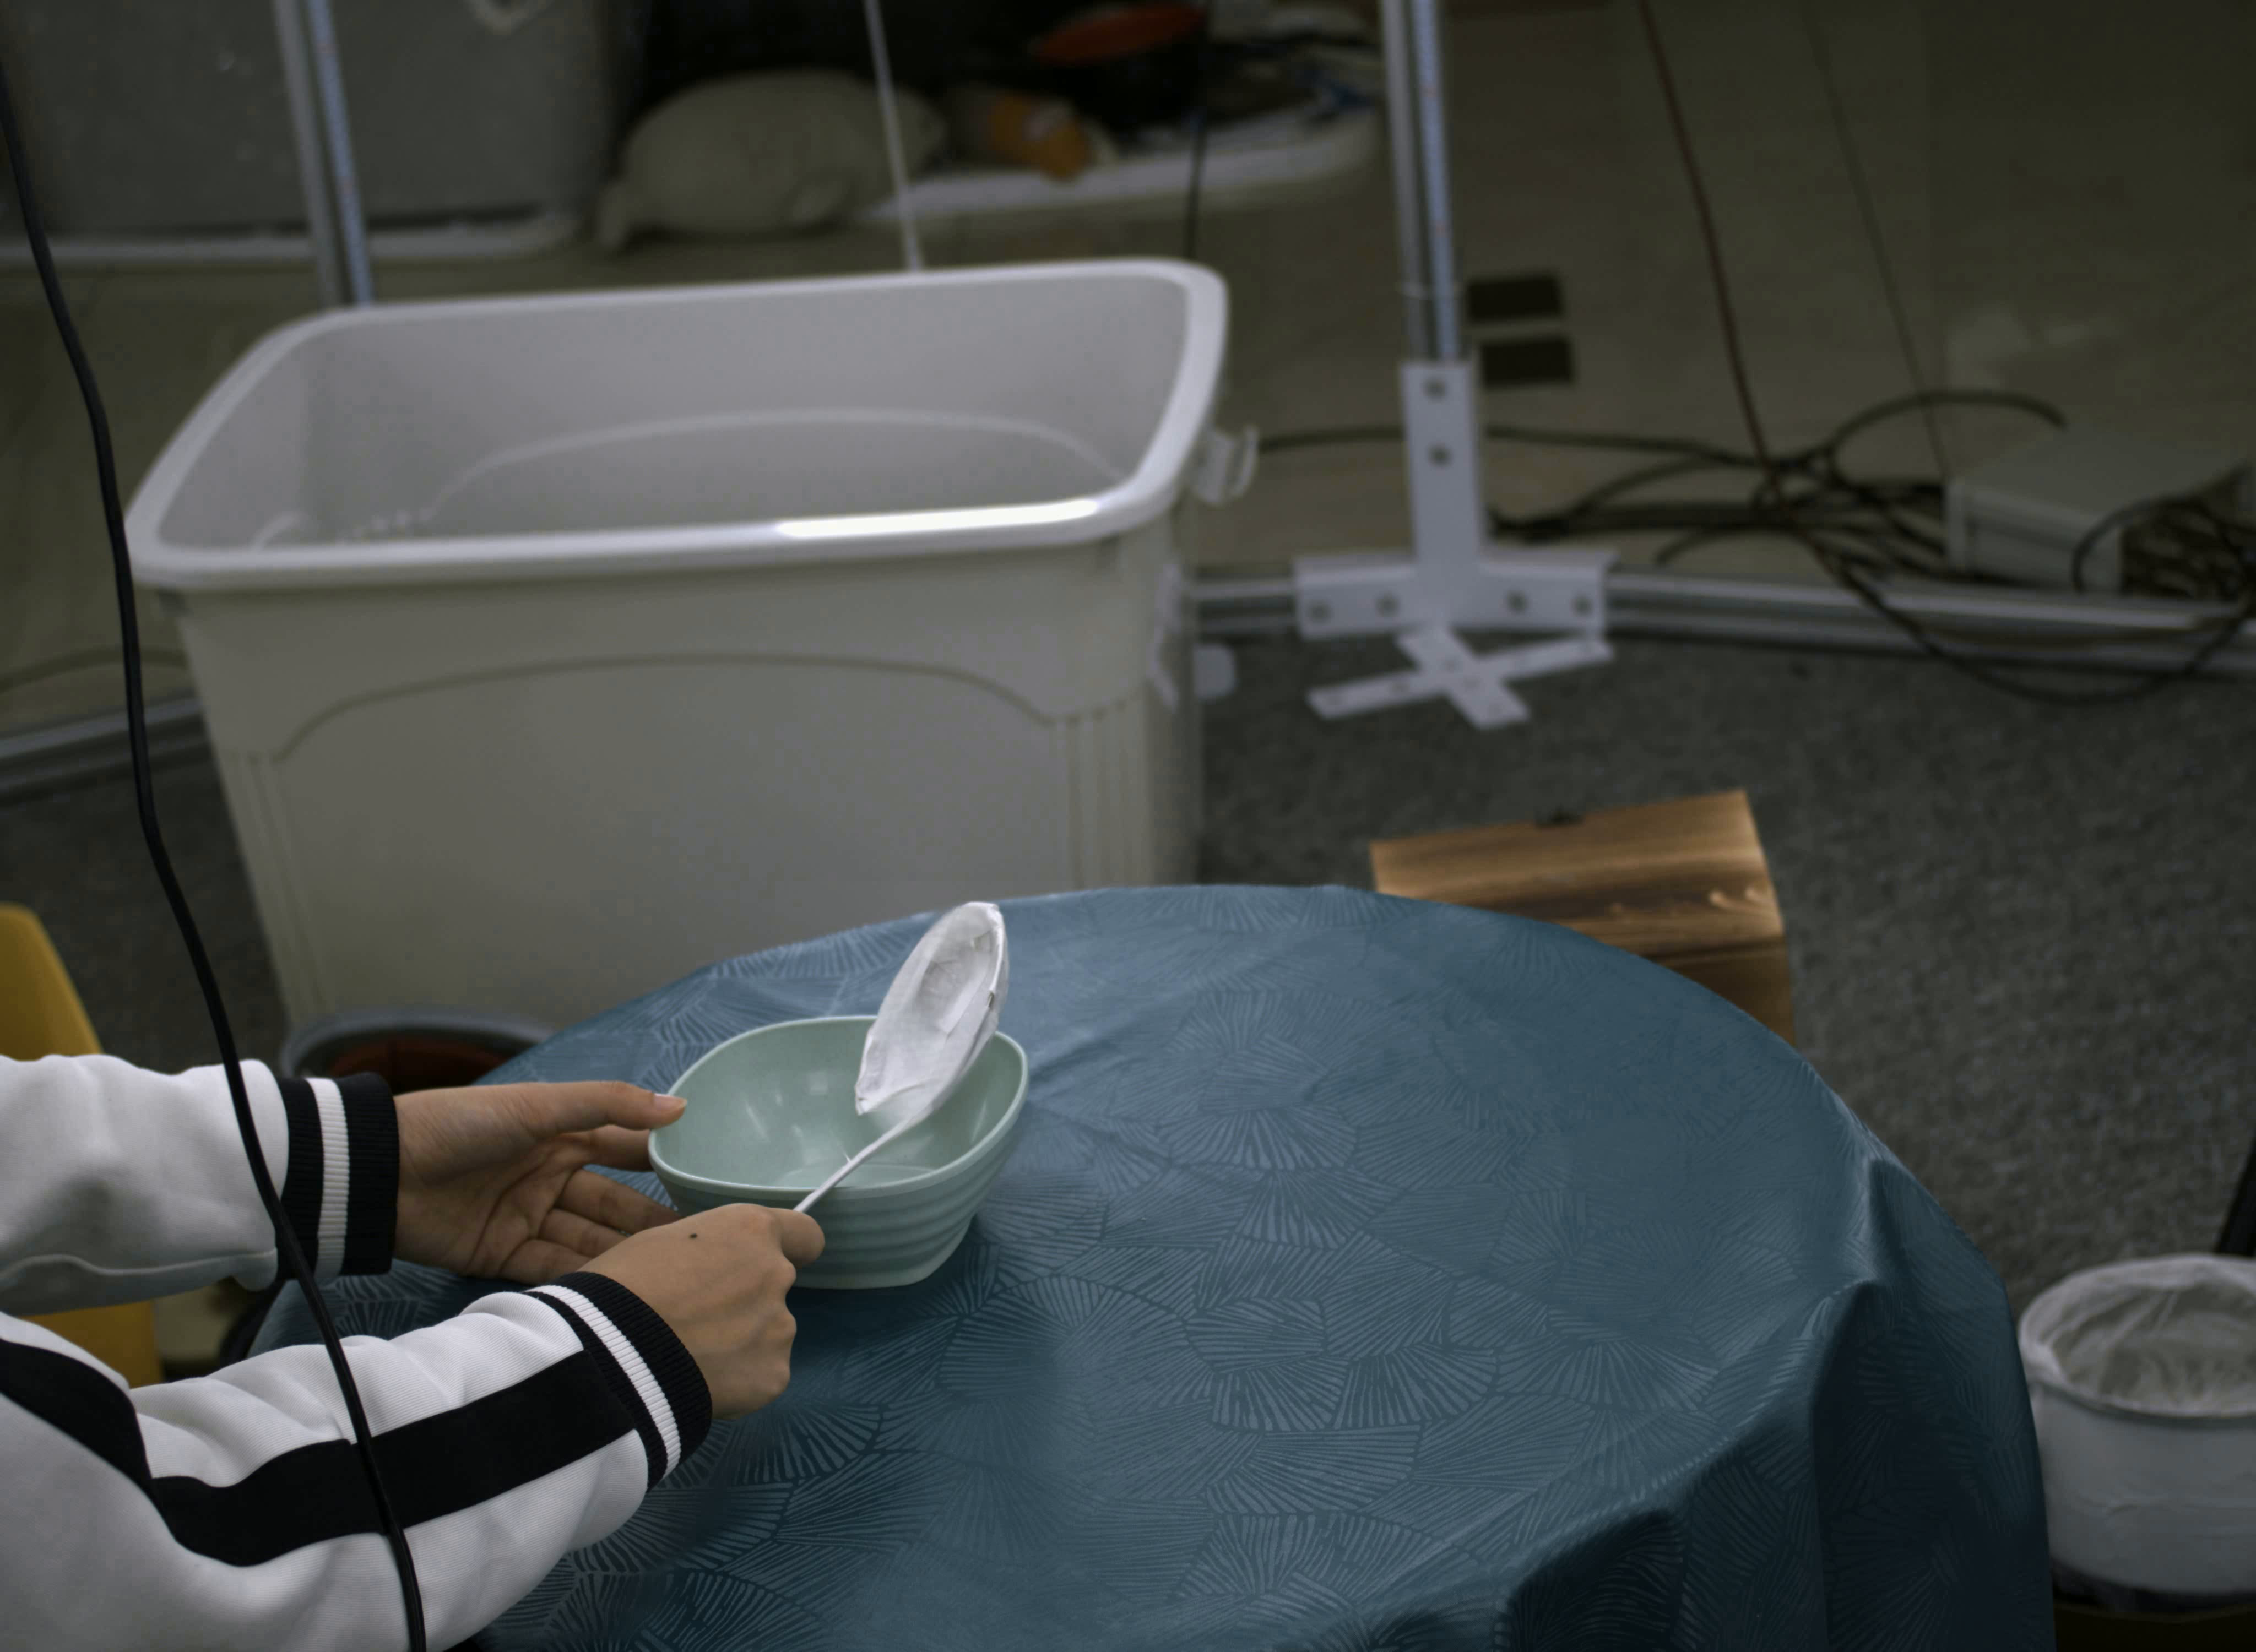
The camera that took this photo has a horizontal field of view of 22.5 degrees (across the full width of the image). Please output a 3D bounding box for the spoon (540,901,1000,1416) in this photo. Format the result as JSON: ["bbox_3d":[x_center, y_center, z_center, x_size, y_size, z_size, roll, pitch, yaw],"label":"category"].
[{"bbox_3d":[-0.135,0.119,2.045,0.274,0.059,0.102,-38,-3,-39],"label":"spoon"}]

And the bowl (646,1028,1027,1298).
[{"bbox_3d":[-0.106,0.132,2.128,0.151,0.059,0.149,-6,25,3],"label":"bowl"}]
